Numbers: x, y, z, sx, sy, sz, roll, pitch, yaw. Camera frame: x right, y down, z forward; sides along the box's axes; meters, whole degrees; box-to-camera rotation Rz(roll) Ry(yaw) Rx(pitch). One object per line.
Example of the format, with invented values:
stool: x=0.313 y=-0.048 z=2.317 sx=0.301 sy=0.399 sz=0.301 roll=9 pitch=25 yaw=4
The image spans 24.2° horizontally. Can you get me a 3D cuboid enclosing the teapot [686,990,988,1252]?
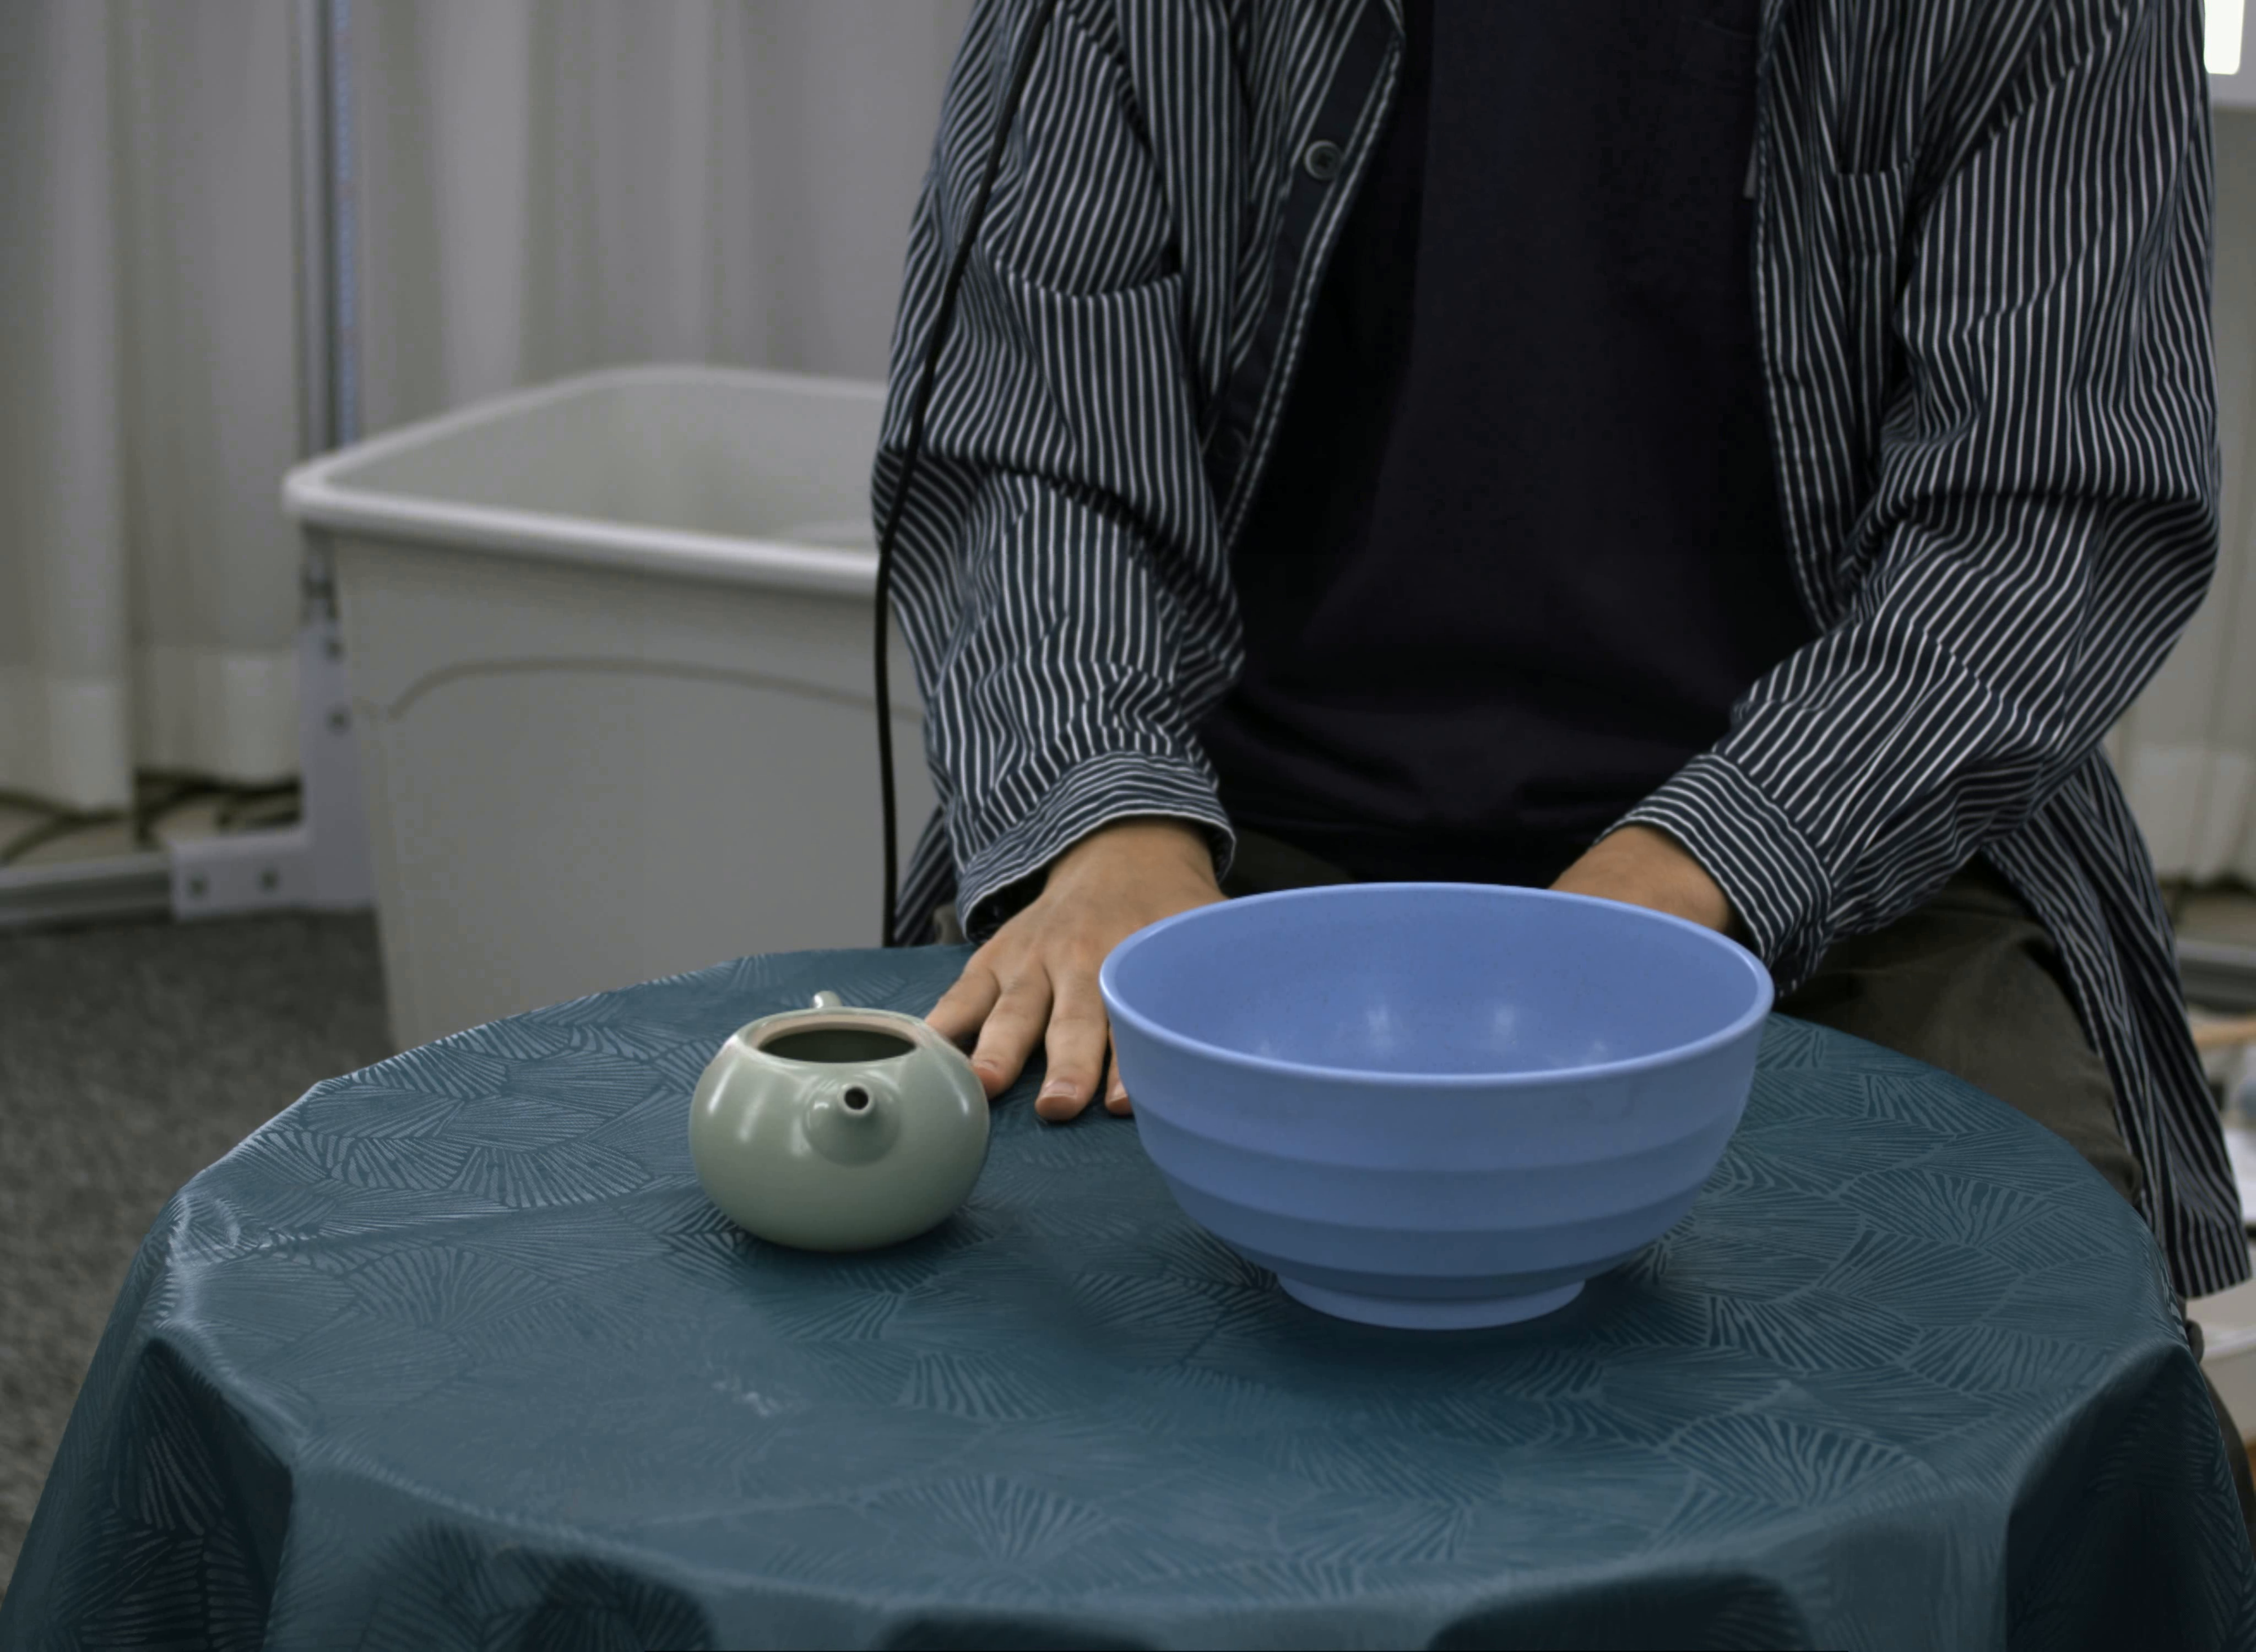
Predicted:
teapot: x=-0.088 y=0.089 z=1.599 sx=0.091 sy=0.061 sz=0.127 roll=-2 pitch=15 yaw=-4

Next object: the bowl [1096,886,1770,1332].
bowl: x=0.089 y=0.088 z=1.545 sx=0.196 sy=0.096 sz=0.195 roll=0 pitch=15 yaw=1
